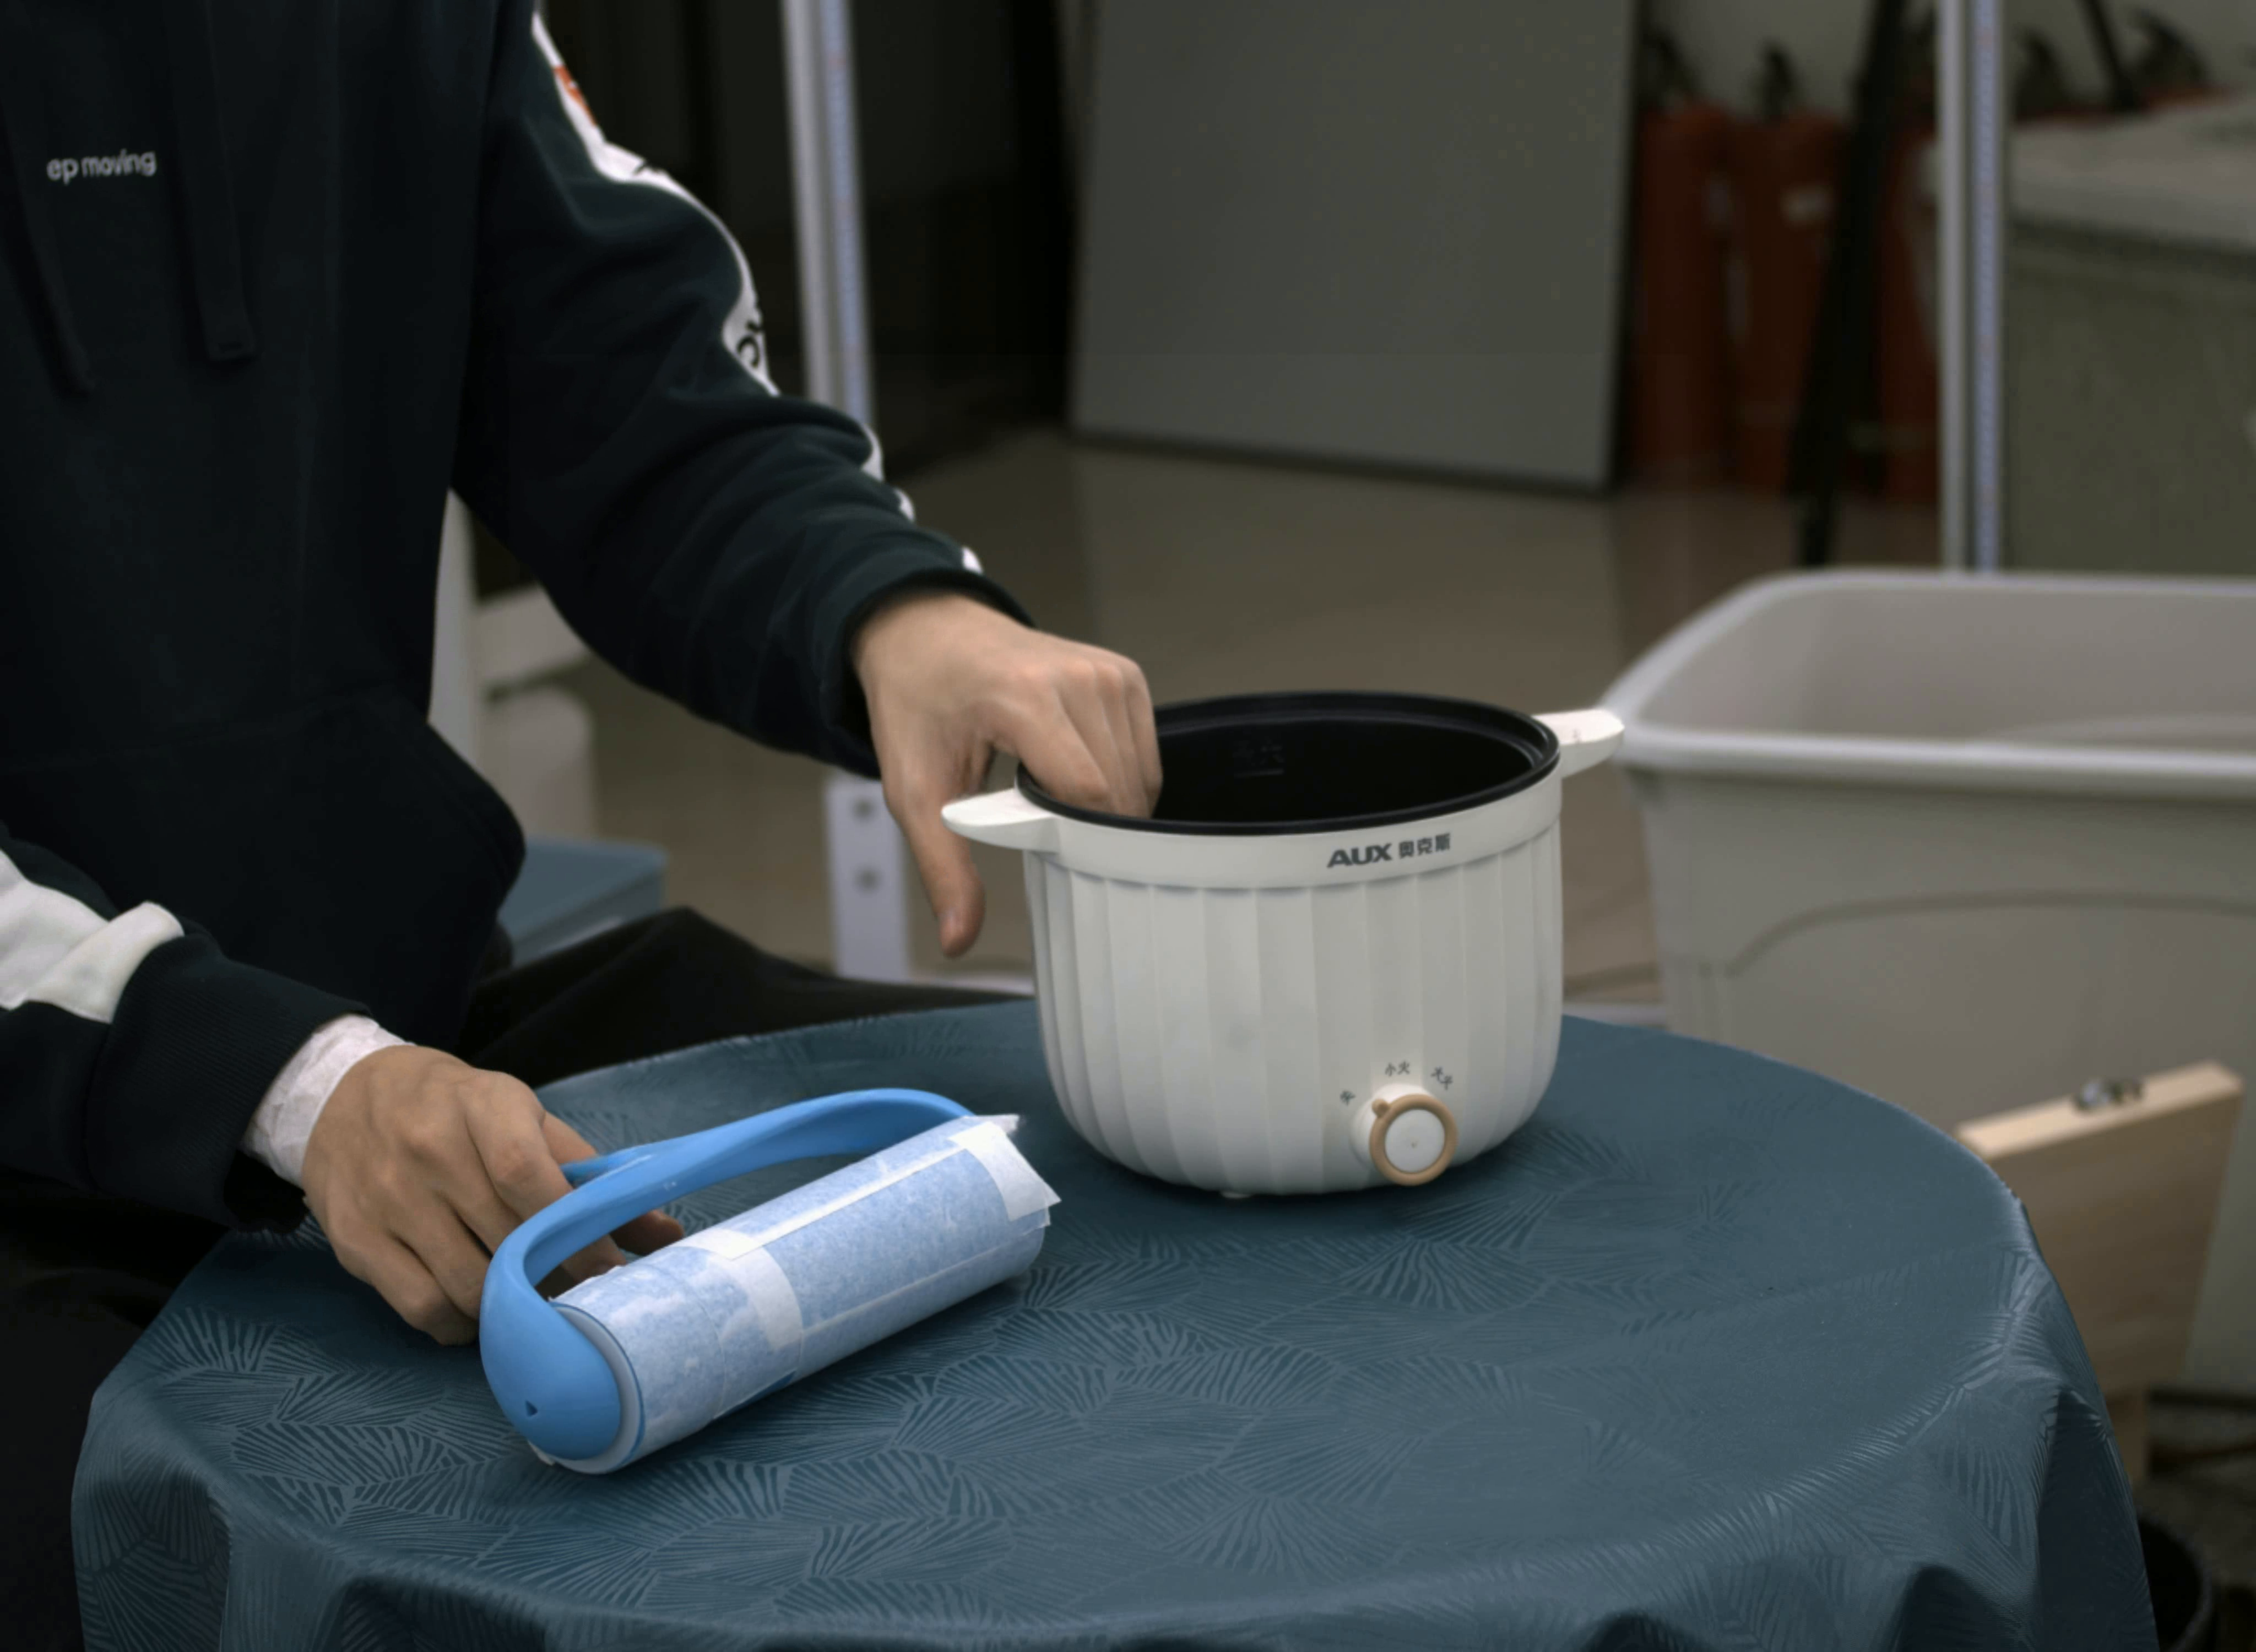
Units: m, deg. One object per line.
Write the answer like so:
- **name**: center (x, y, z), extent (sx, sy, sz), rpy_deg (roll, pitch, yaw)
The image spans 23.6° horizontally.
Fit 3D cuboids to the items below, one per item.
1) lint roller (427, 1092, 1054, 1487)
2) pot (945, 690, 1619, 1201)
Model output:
- **lint roller**: center (-0.147, 0.134, 1.648), extent (0.181, 0.068, 0.225), rpy_deg (6, 19, 33)
- **pot**: center (0.060, 0.041, 1.787), extent (0.235, 0.144, 0.192), rpy_deg (-10, 11, -17)
